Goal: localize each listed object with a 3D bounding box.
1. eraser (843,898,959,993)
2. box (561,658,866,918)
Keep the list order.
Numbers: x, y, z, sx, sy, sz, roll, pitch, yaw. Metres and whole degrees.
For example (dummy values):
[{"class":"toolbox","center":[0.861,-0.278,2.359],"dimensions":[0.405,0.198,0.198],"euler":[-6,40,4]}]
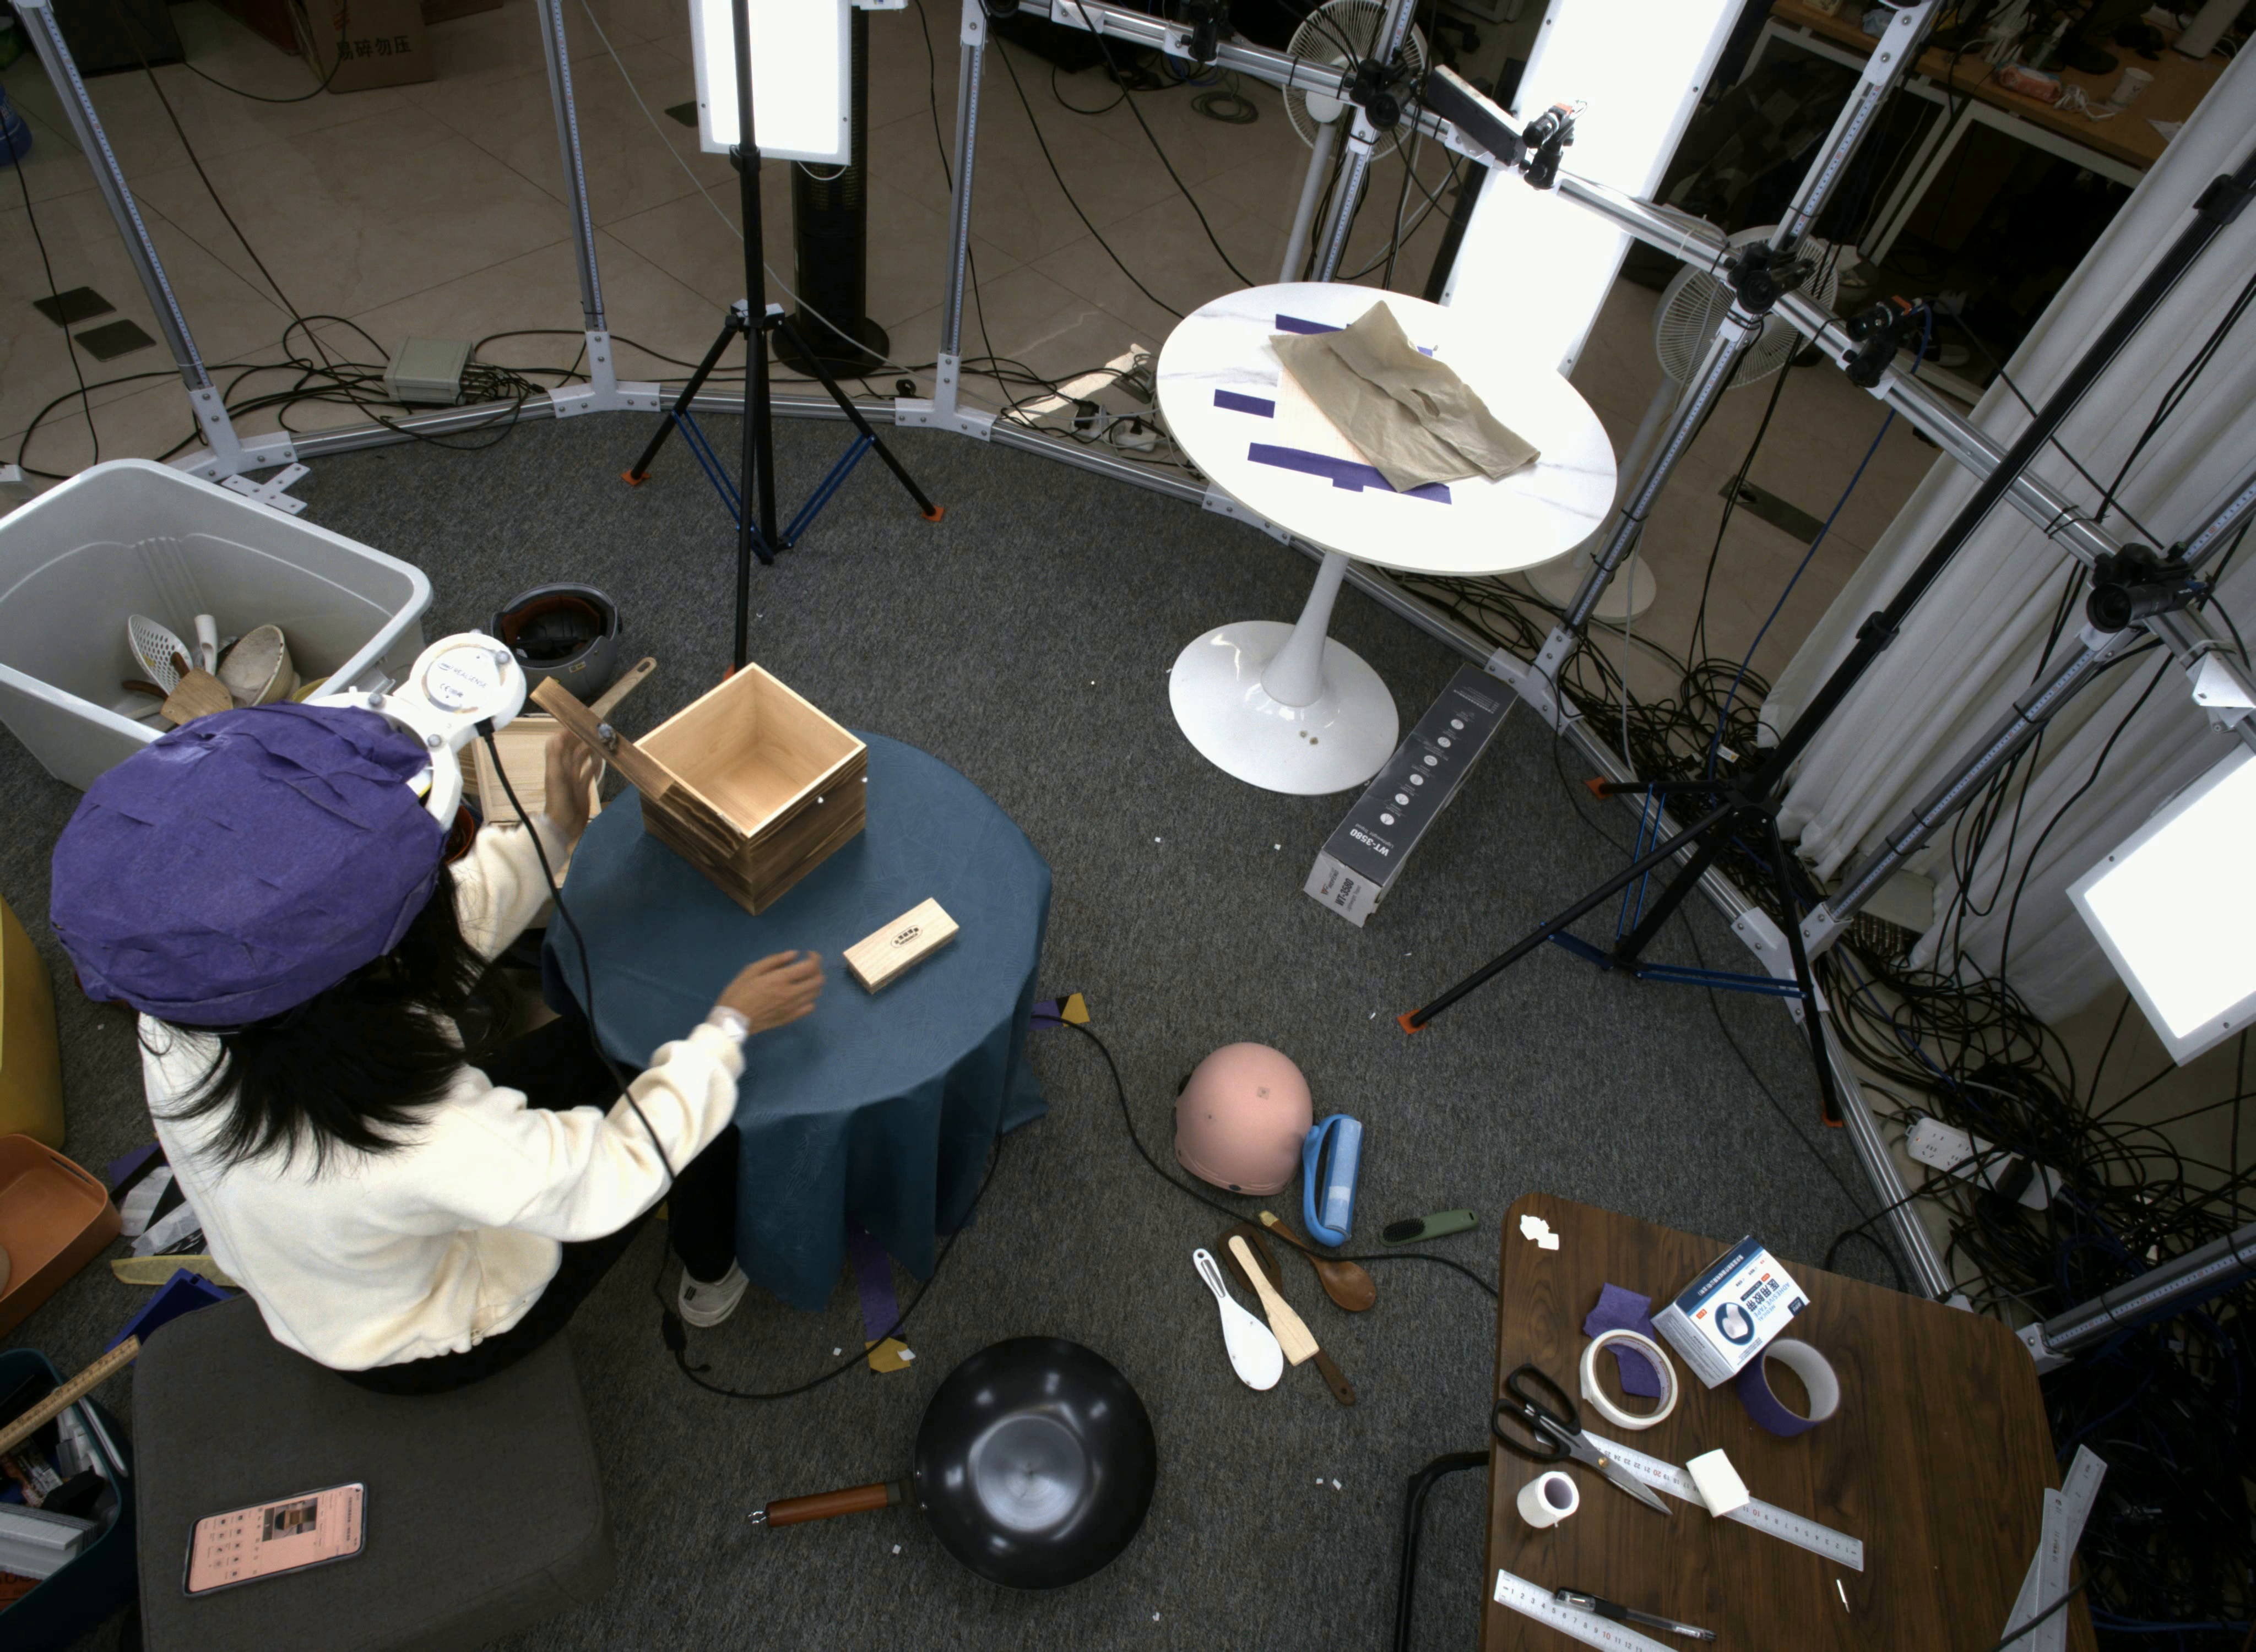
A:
[{"class":"eraser","center":[-0.283,0.147,1.628],"dimensions":[0.140,0.029,0.056],"euler":[-33,70,-31]},{"class":"box","center":[-0.487,-0.080,1.527],"dimensions":[0.205,0.383,0.322],"euler":[34,53,14]}]
